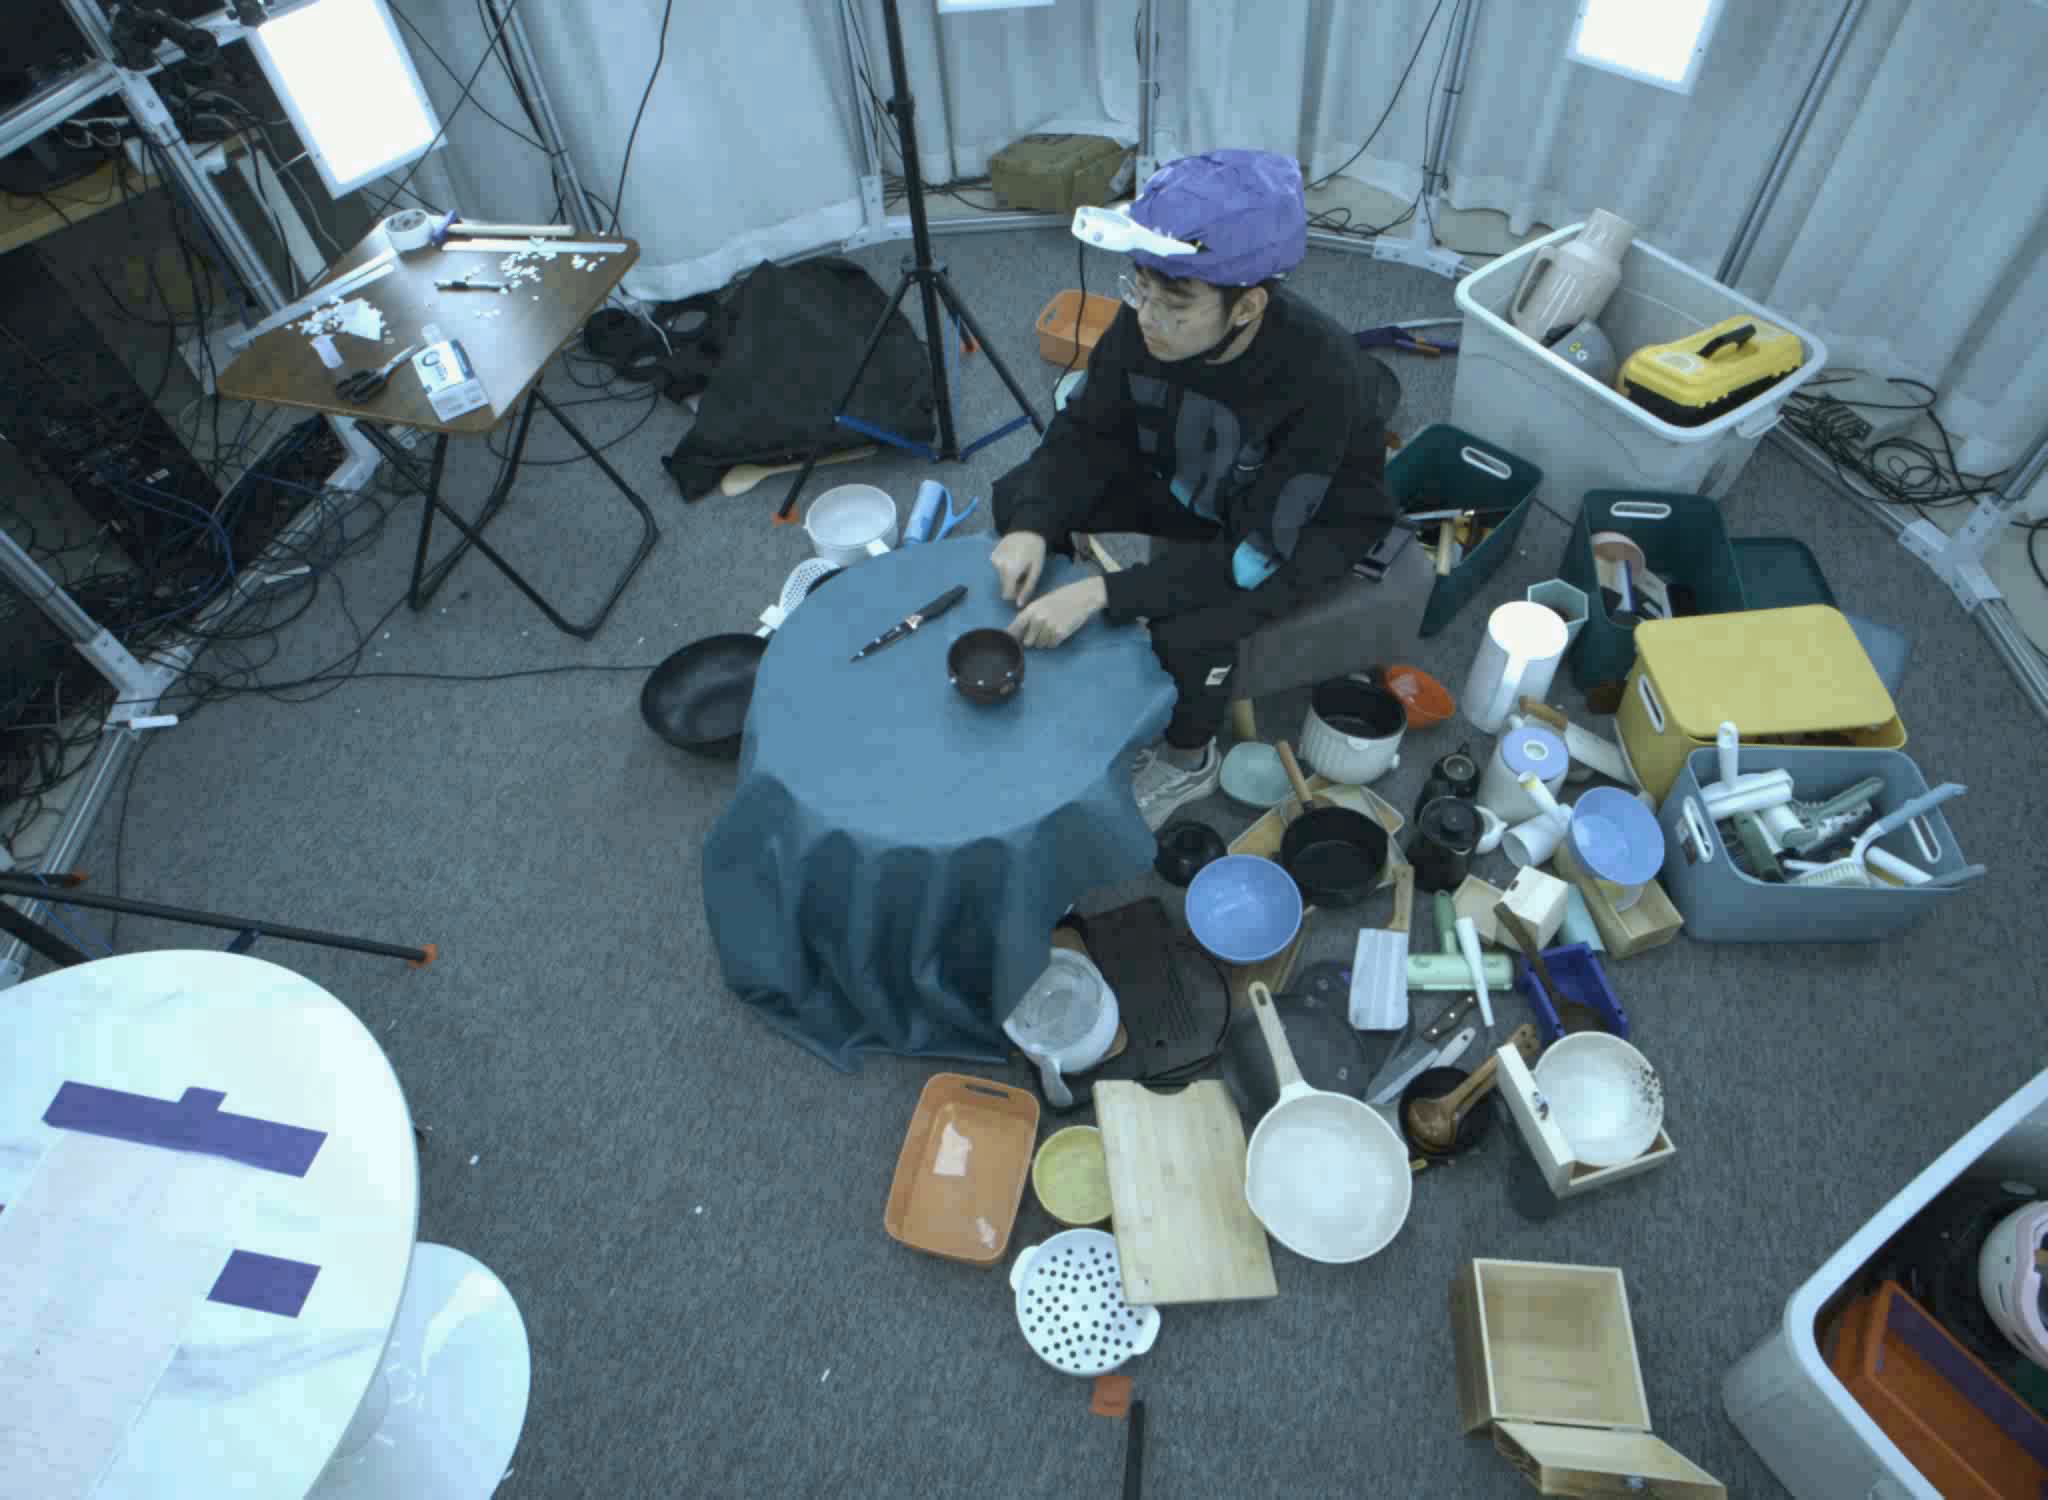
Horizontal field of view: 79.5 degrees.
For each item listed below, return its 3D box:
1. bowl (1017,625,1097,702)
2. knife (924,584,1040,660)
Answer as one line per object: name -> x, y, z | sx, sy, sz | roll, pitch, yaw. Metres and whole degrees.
bowl -> 0.049, -0.120, 1.824 | 0.118, 0.070, 0.117 | 0, 56, 1
knife -> -0.067, -0.202, 1.926 | 0.227, 0.017, 0.026 | -32, 67, -18
